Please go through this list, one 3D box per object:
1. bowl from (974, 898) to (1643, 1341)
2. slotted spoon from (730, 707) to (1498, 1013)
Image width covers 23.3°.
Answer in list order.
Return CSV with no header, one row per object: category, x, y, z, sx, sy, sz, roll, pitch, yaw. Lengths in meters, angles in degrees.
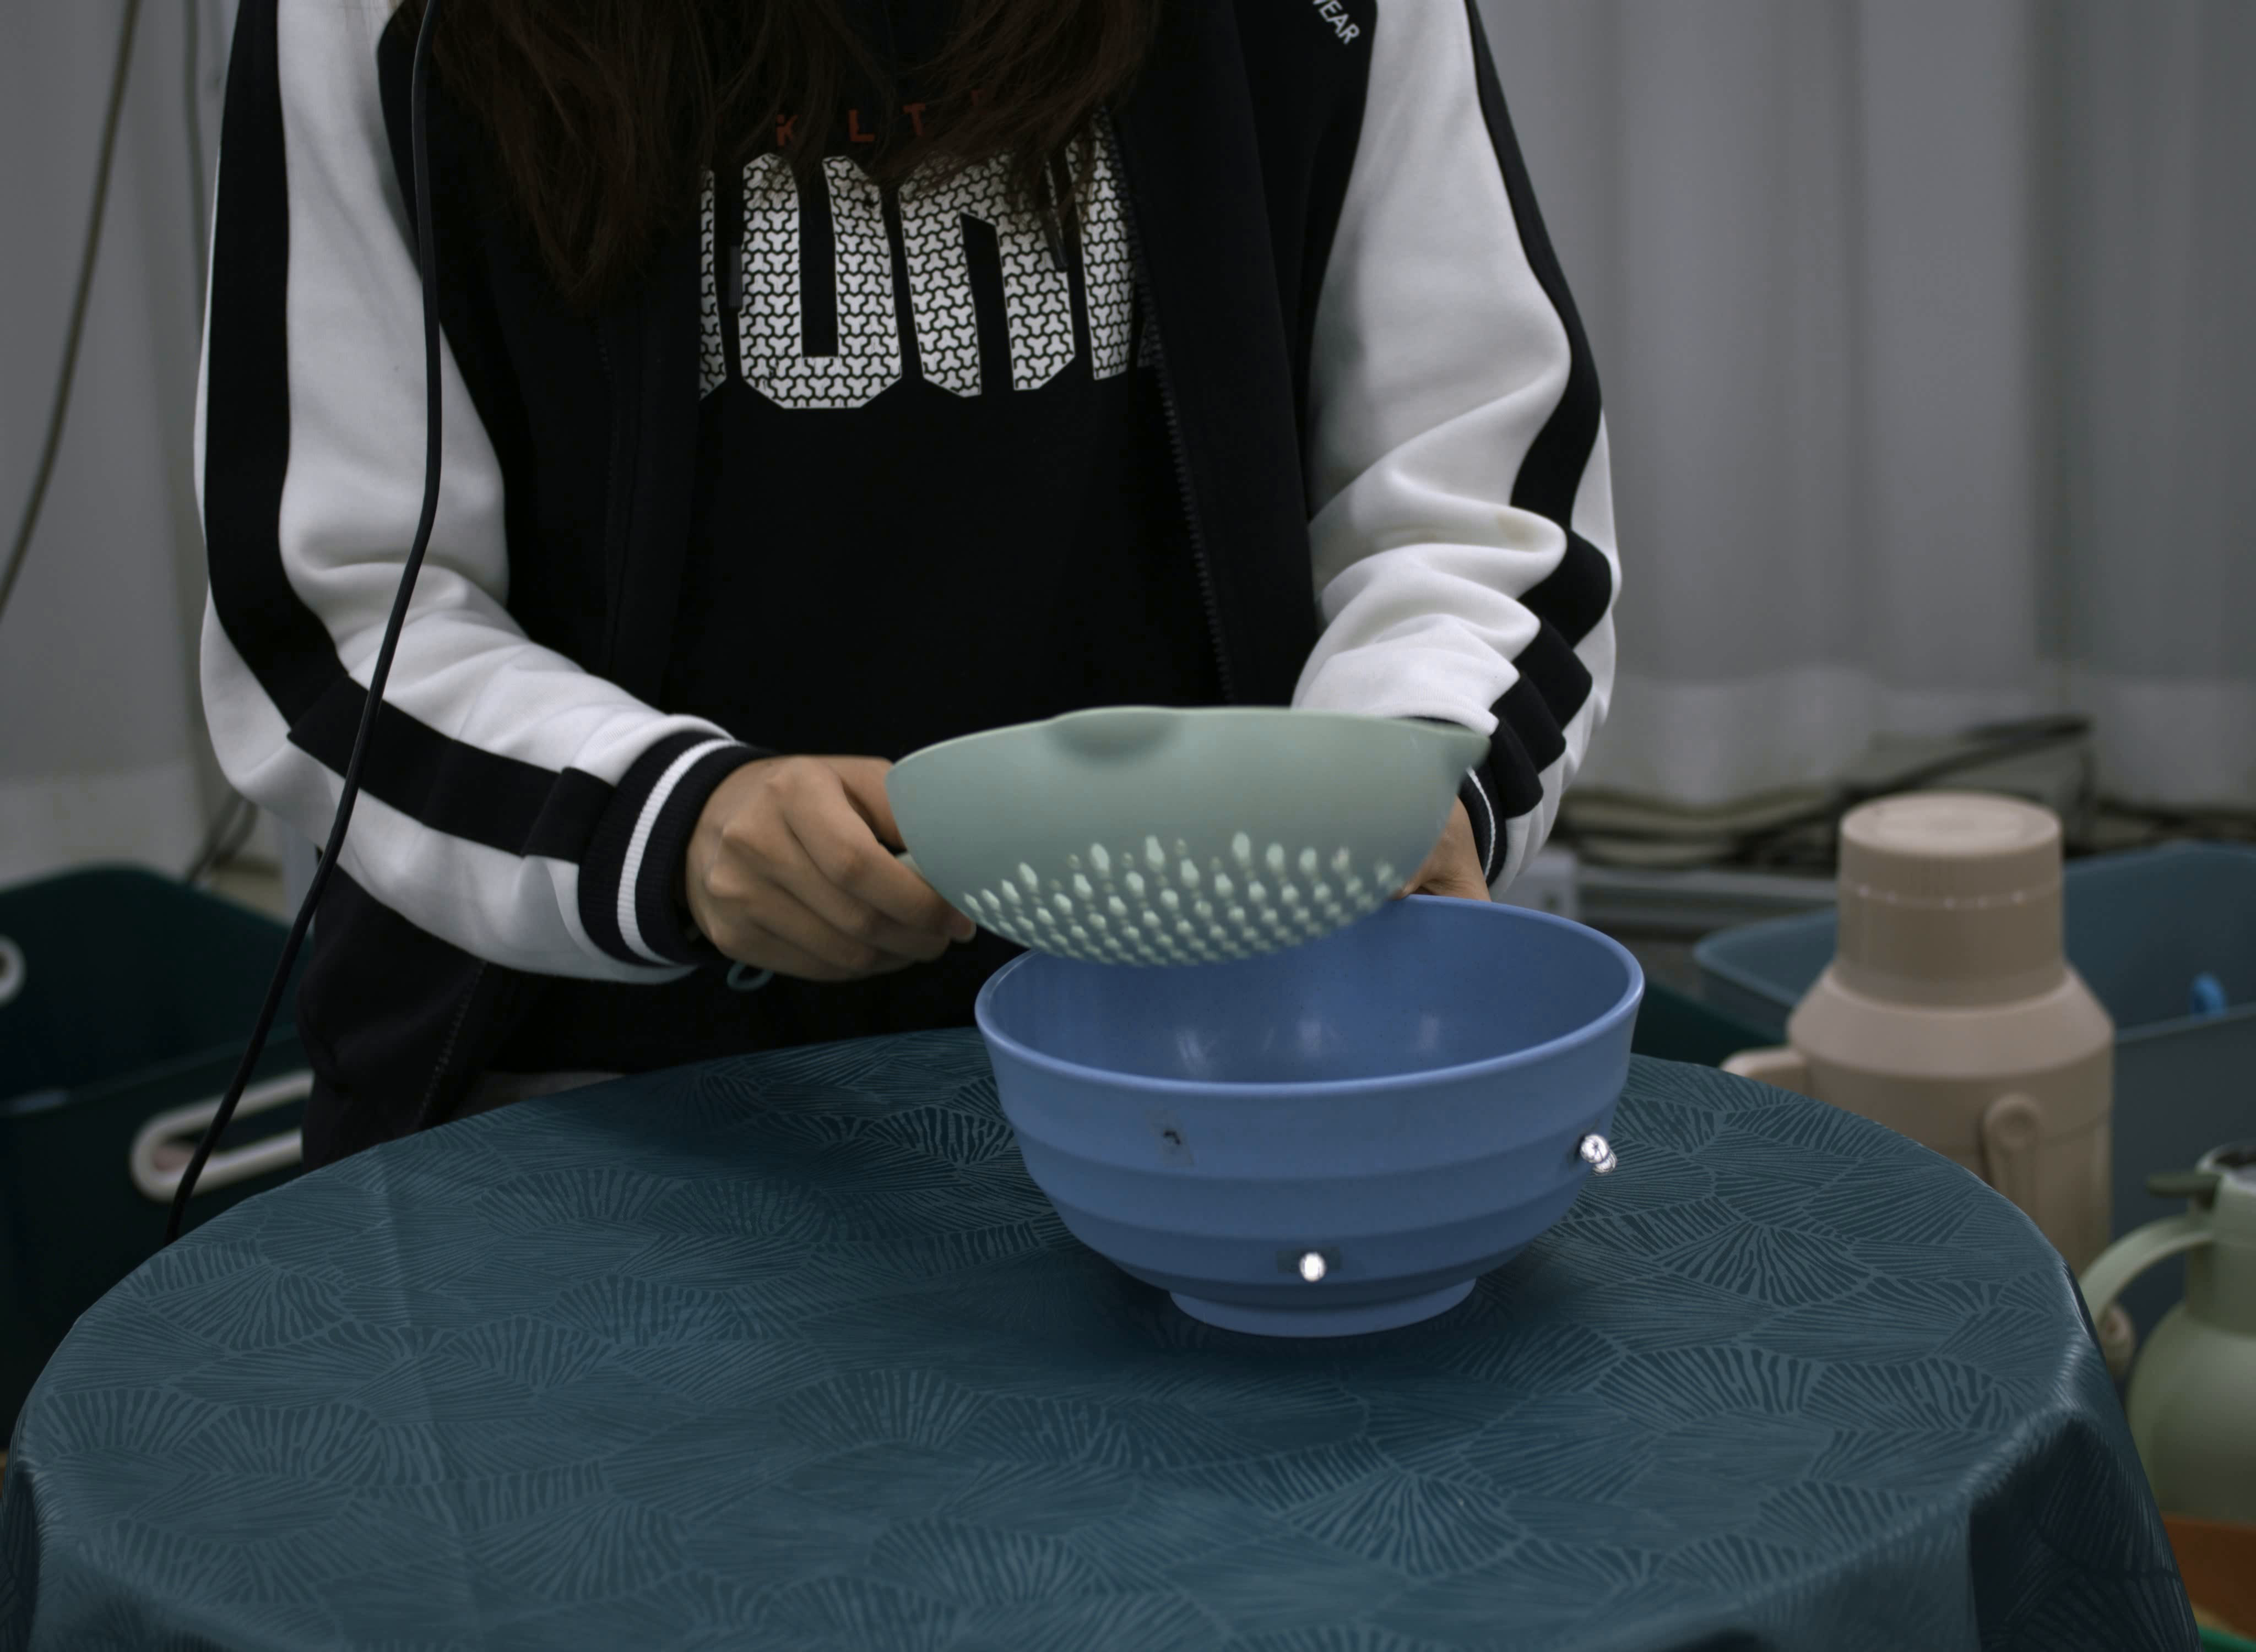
bowl,0.055,0.092,1.609,0.196,0.095,0.198,-4,14,1
slotted spoon,-0.035,0.015,1.669,0.168,0.076,0.359,6,-6,-31
